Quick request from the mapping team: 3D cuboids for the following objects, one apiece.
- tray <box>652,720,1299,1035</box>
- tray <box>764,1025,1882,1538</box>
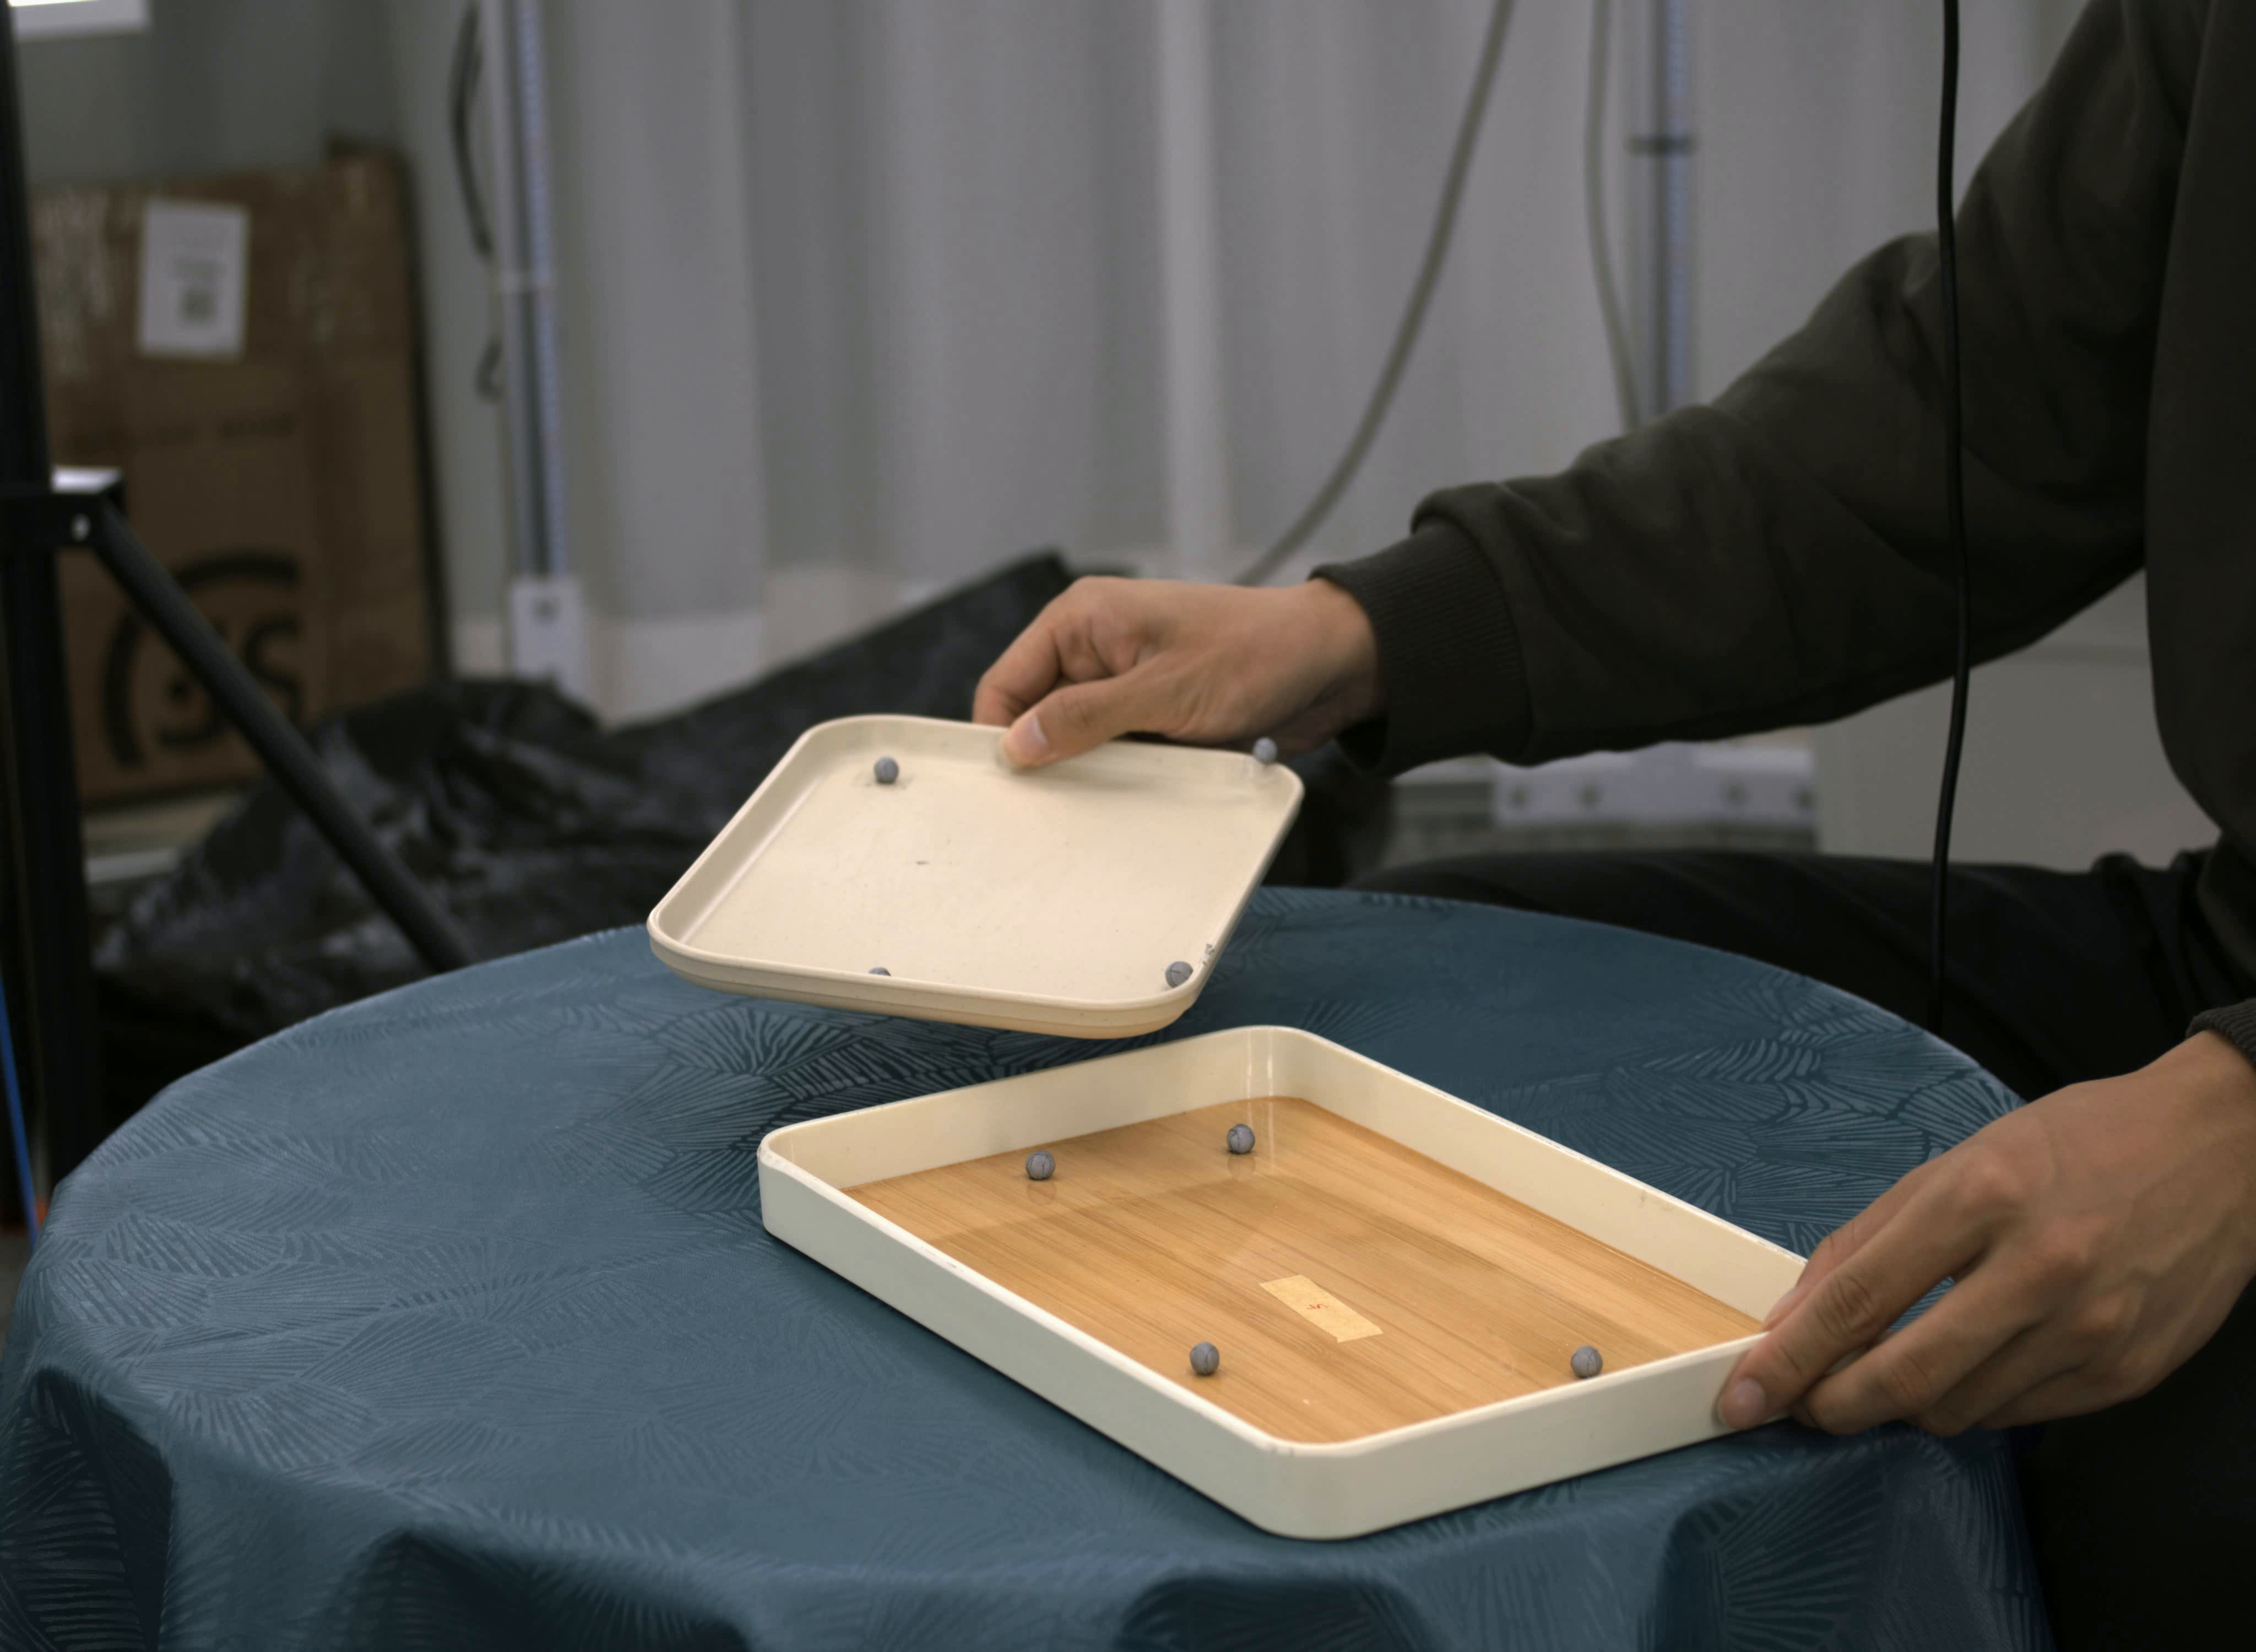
[{"bbox_3d":[-0.044,0.015,1.677,0.172,0.017,0.238,5,20,11],"label":"tray"},{"bbox_3d":[0.047,0.120,1.464,0.187,0.027,0.307,-11,18,-29],"label":"tray"}]
